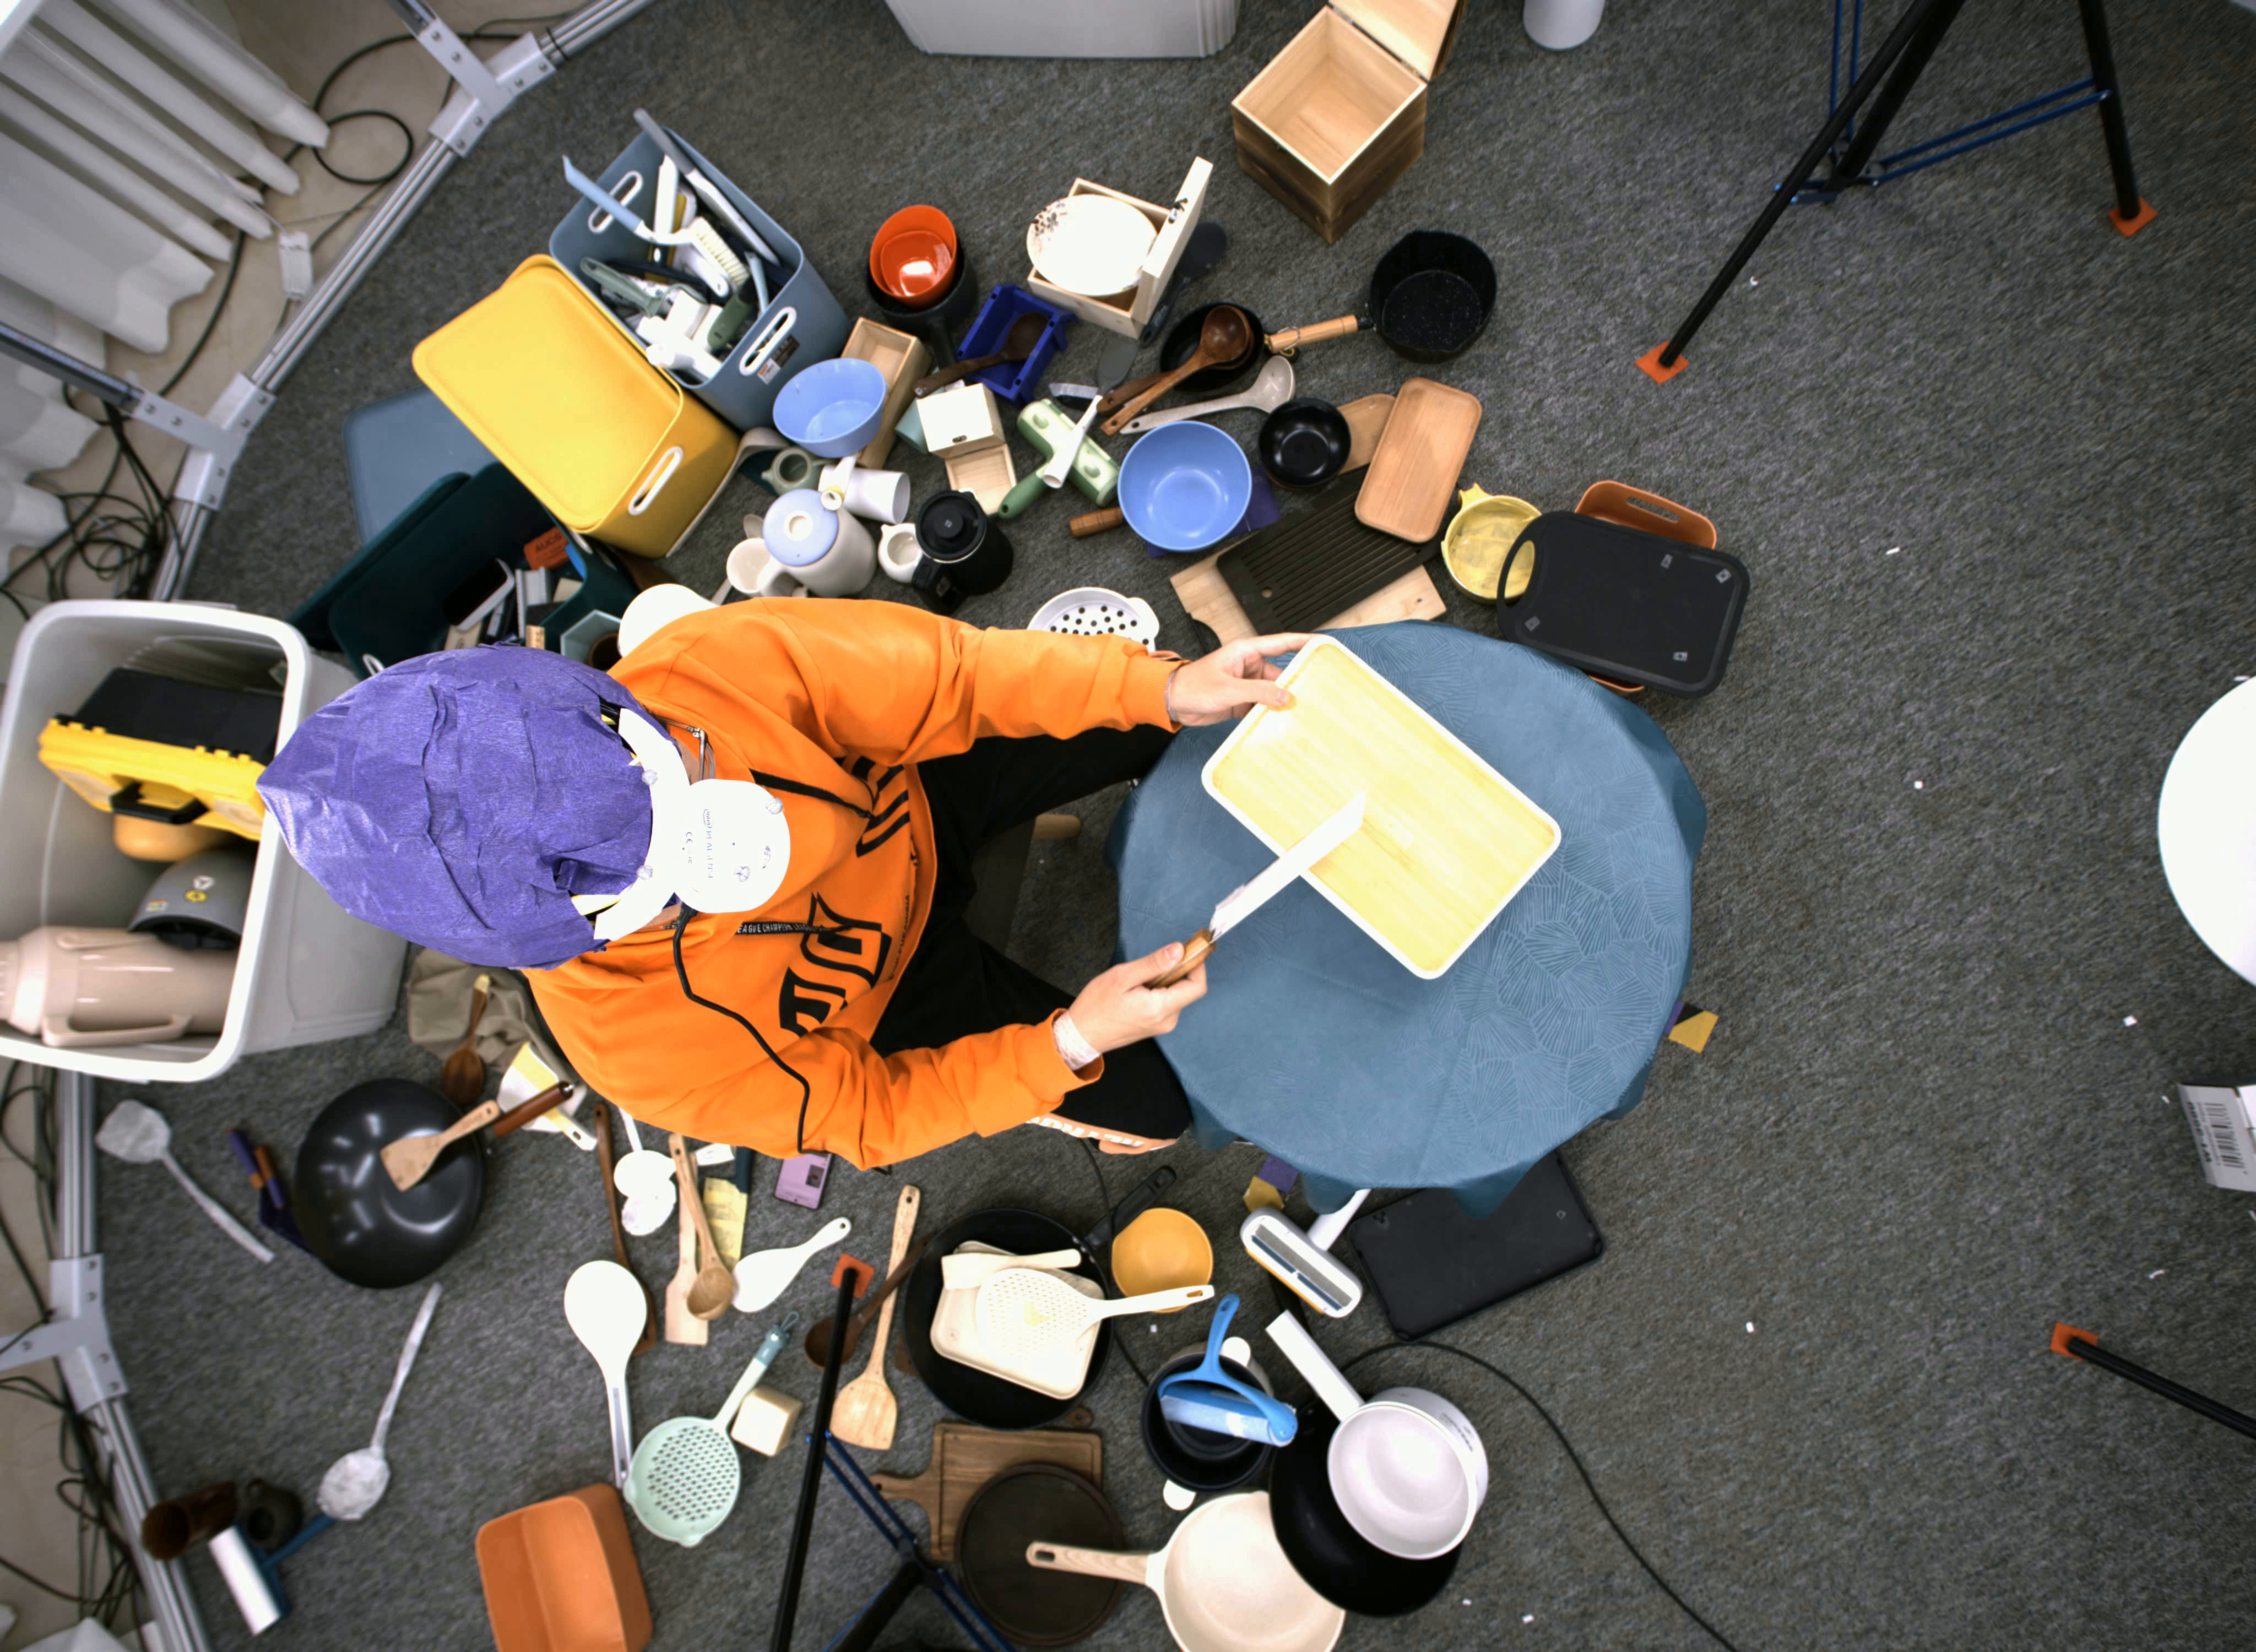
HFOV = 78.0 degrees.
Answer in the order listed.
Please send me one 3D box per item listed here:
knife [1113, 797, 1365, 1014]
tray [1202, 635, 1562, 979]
[{"bbox_3d":[0.102,0.071,1.291,0.021,0.091,0.311,45,116,-9],"label":"knife"},{"bbox_3d":[0.235,-0.021,1.300,0.299,0.027,0.193,42,102,11],"label":"tray"}]
